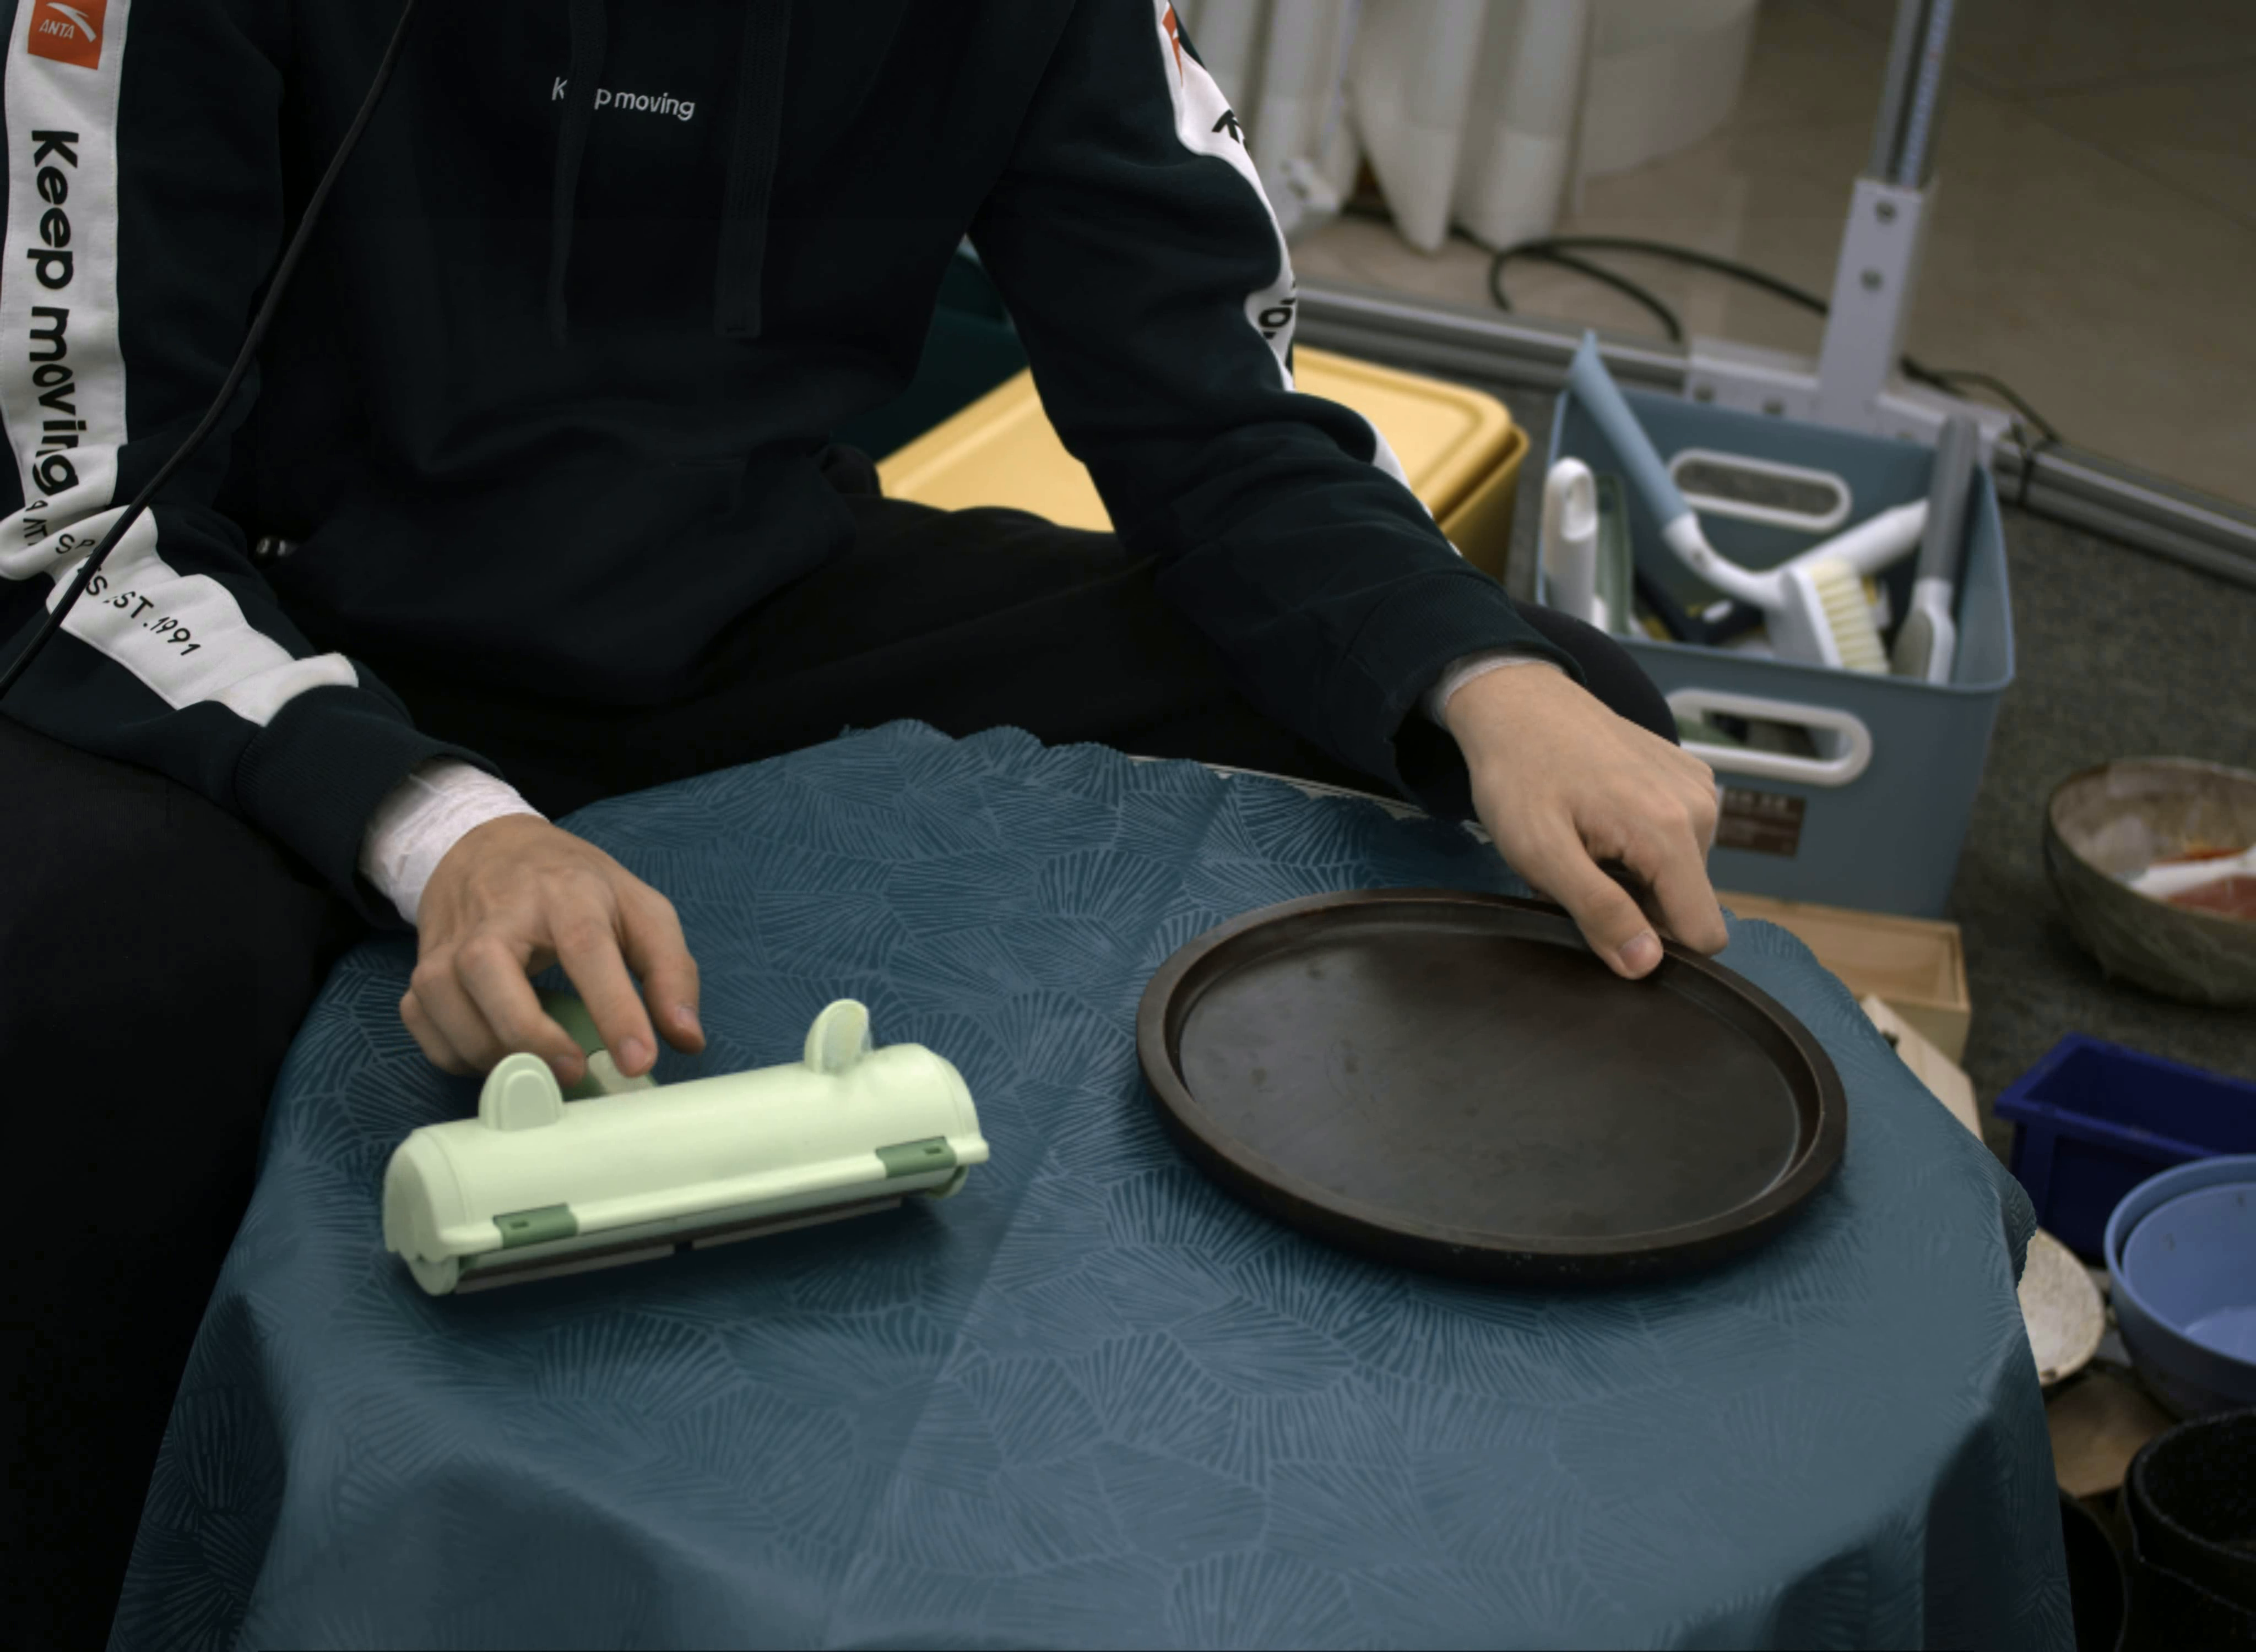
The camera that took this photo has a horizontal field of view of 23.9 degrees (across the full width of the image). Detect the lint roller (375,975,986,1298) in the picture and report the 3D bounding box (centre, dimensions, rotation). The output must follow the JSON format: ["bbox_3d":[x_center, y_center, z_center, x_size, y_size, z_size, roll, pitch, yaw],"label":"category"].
[{"bbox_3d":[-0.170,0.077,1.764,0.197,0.082,0.185,-9,34,-28],"label":"lint roller"}]

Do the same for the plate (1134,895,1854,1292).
[{"bbox_3d":[0.127,0.091,1.864,0.254,0.029,0.256,5,28,-3],"label":"plate"}]
